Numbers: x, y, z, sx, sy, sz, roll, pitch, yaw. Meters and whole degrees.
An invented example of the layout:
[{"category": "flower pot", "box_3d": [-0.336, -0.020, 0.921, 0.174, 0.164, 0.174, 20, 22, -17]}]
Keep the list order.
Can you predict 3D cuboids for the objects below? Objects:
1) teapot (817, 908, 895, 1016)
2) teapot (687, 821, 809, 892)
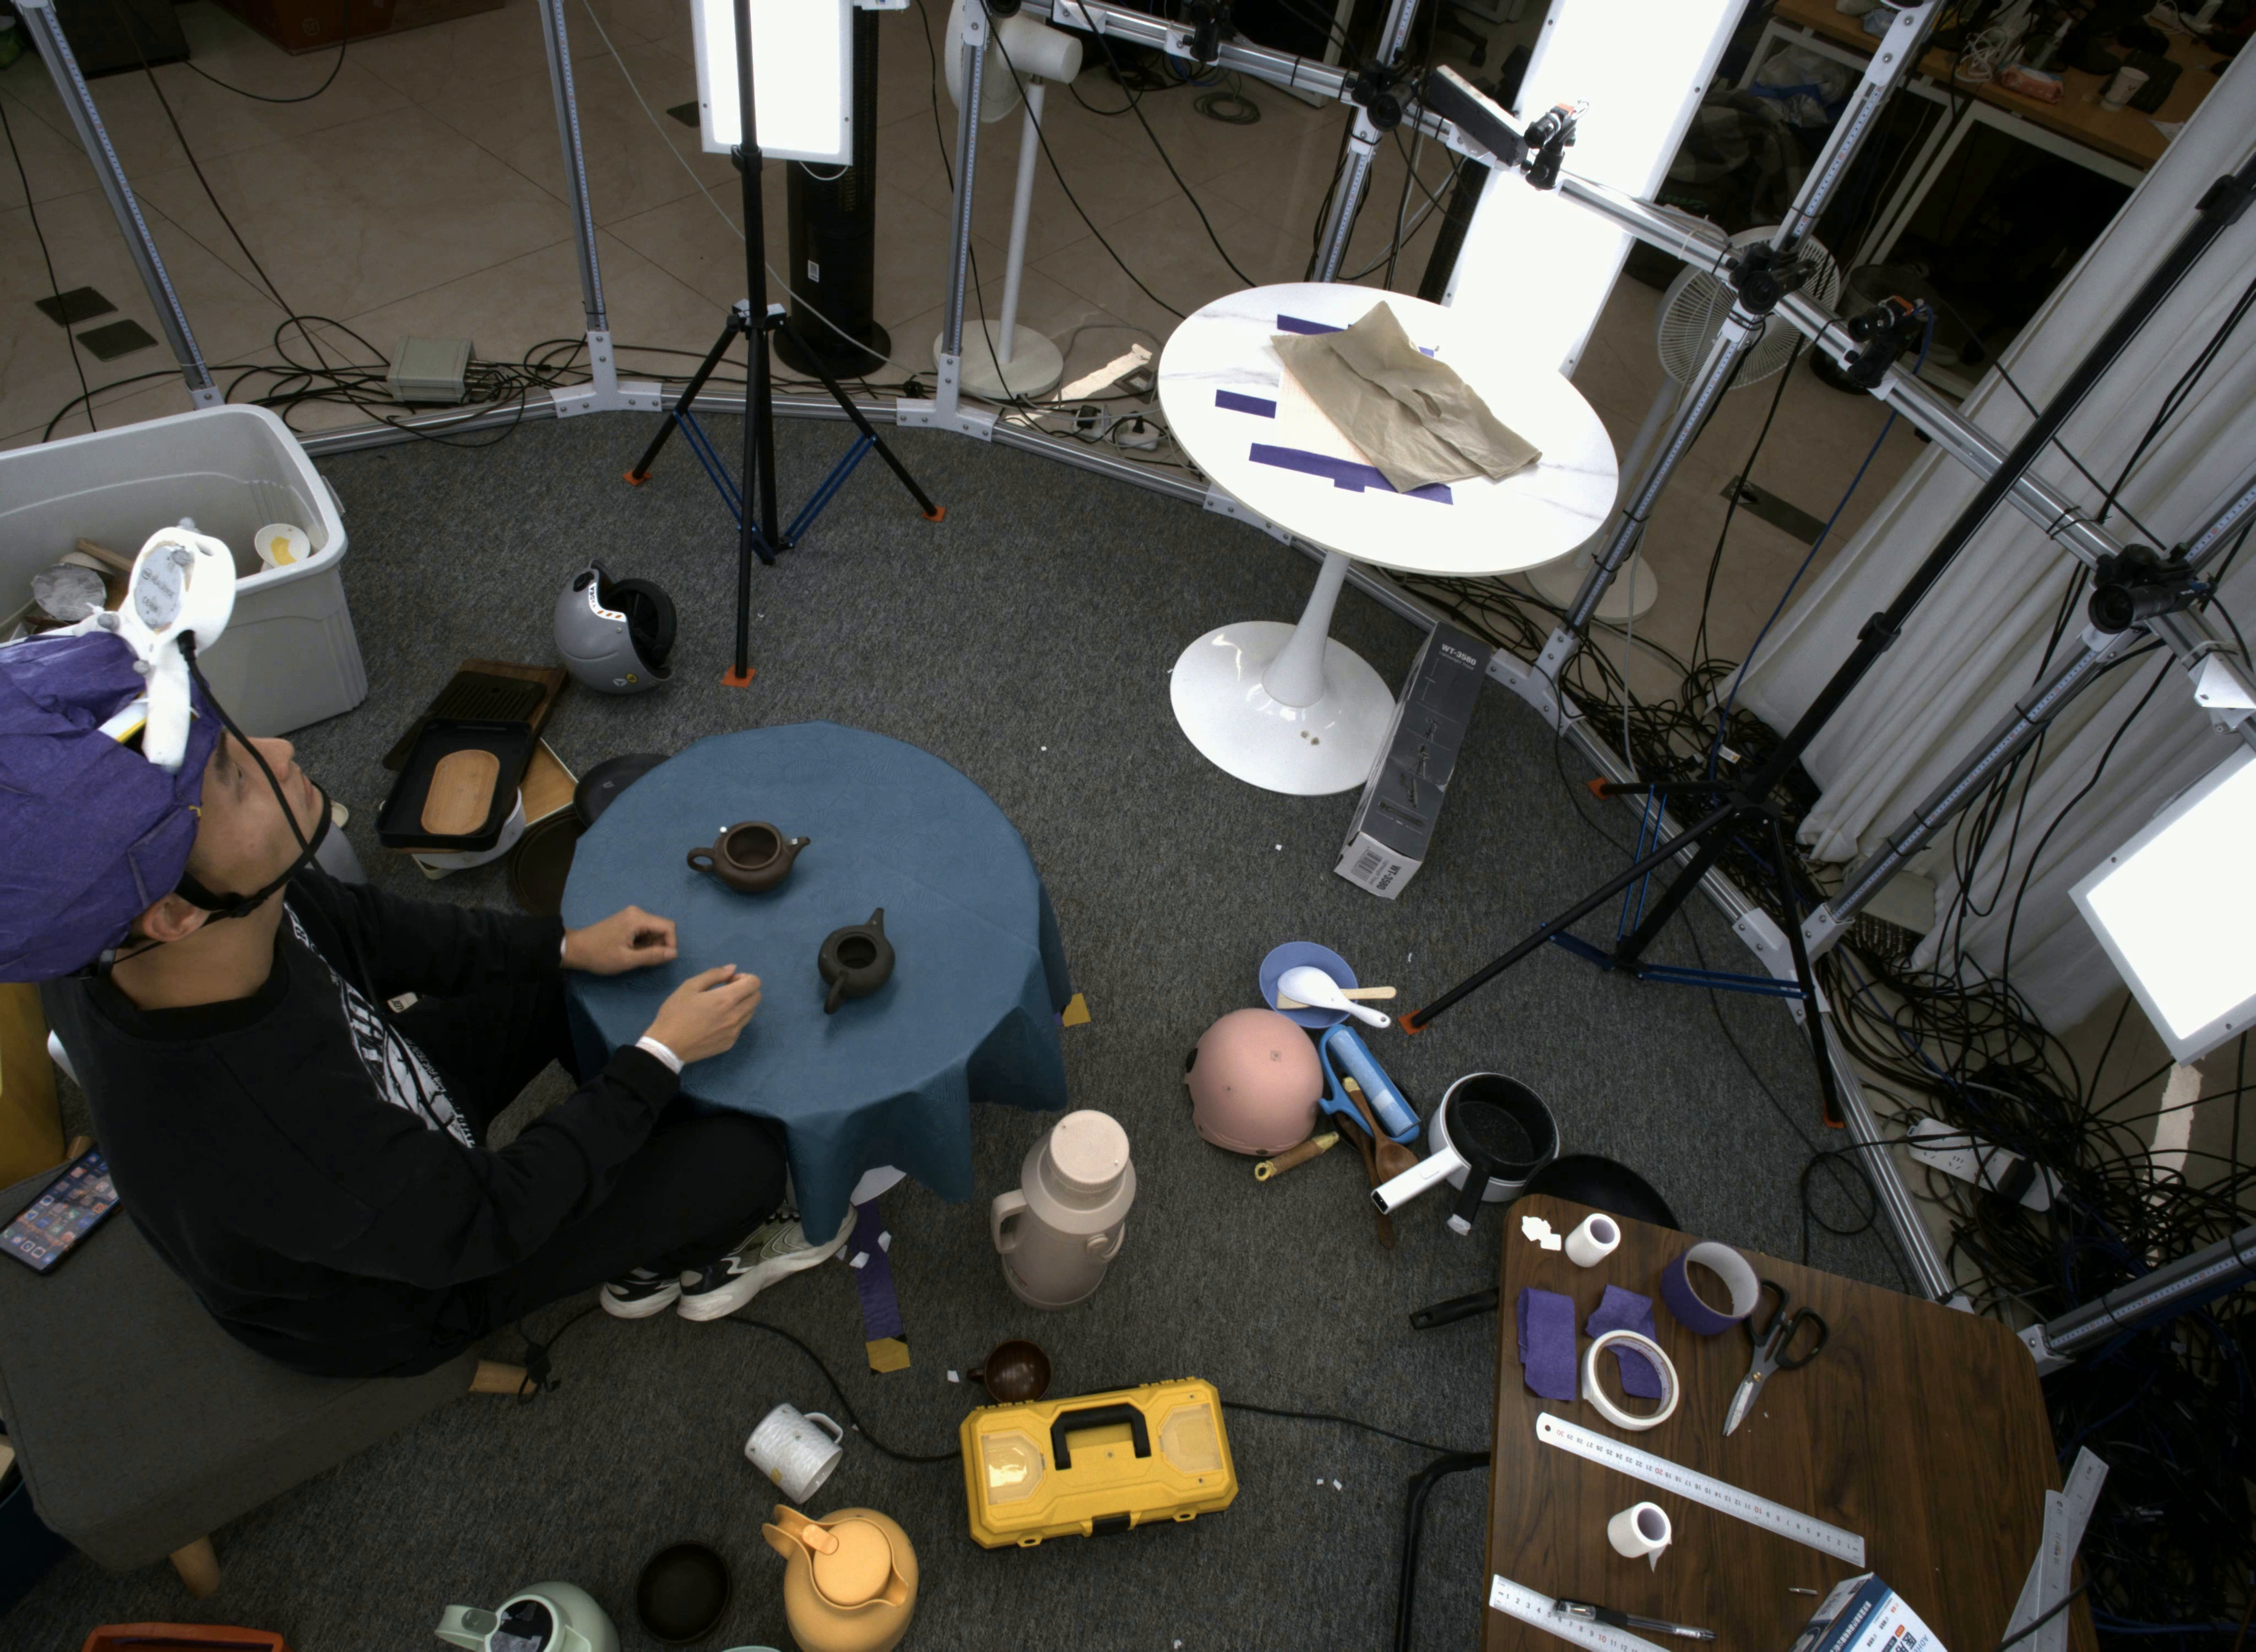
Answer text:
[{"category": "teapot", "box_3d": [-0.332, 0.166, 1.580, 0.091, 0.066, 0.153, 20, 51, 5]}, {"category": "teapot", "box_3d": [-0.482, 0.037, 1.643, 0.154, 0.055, 0.100, -10, 54, -21]}]
